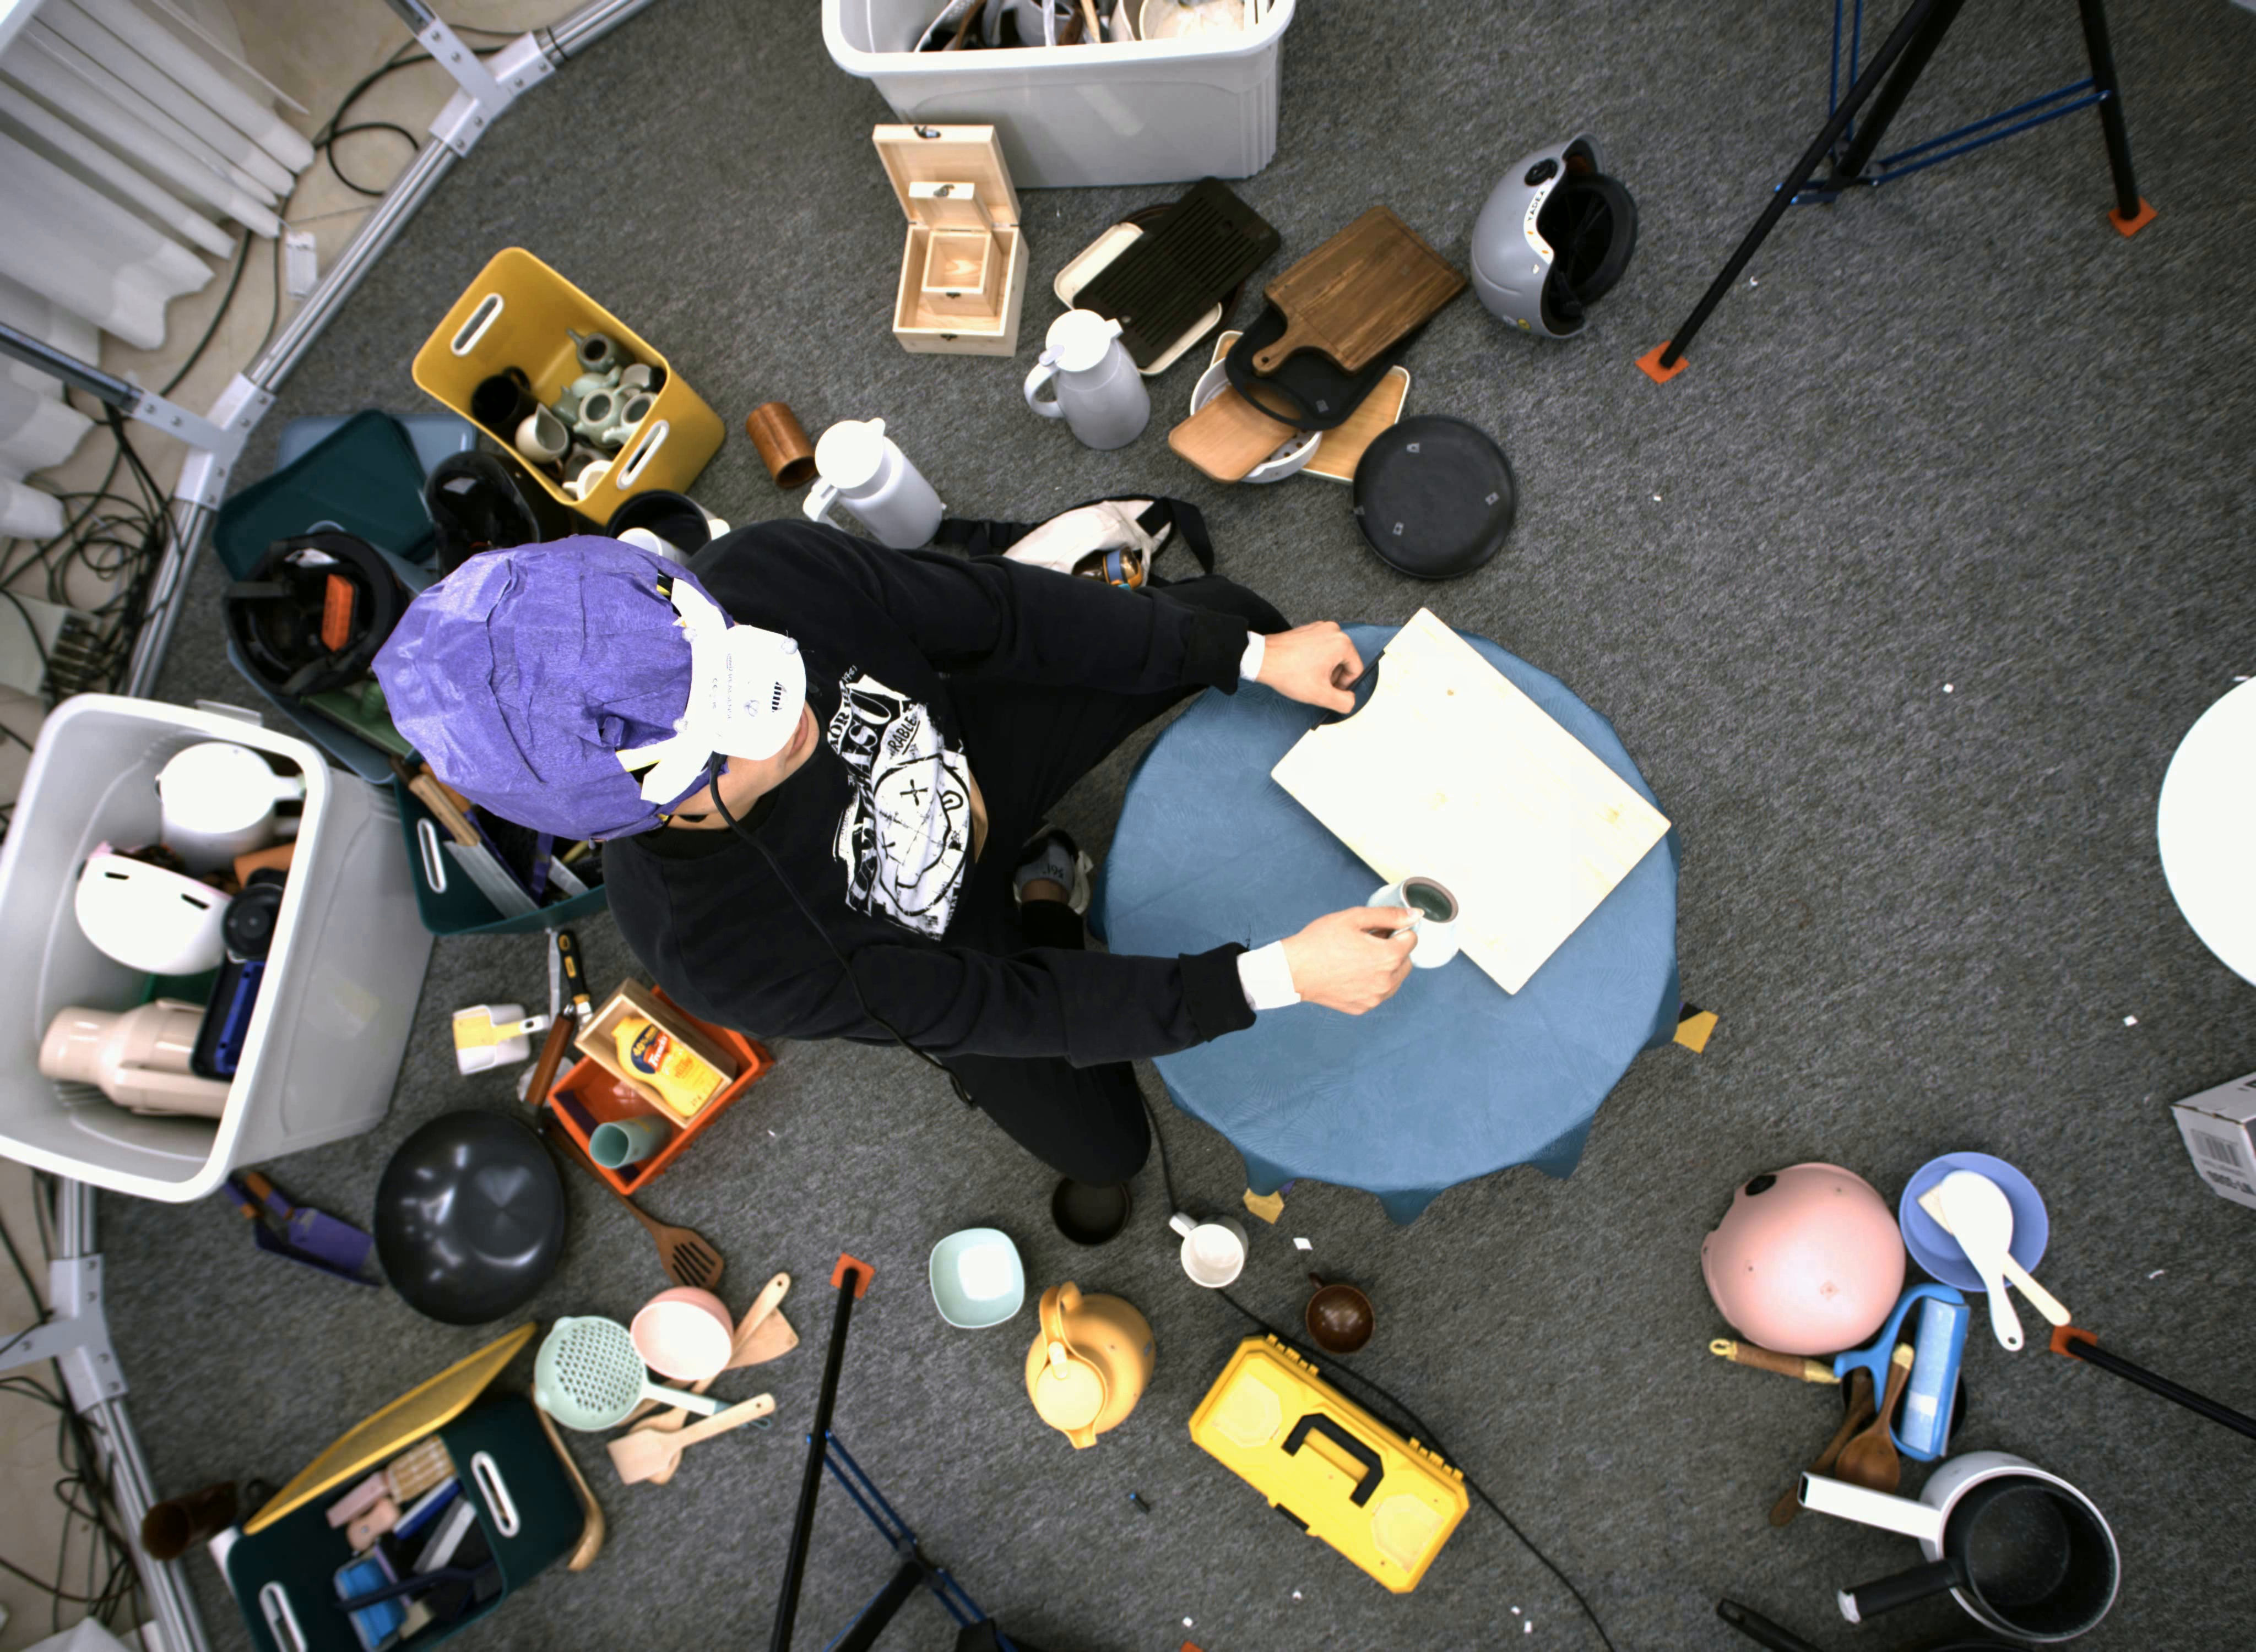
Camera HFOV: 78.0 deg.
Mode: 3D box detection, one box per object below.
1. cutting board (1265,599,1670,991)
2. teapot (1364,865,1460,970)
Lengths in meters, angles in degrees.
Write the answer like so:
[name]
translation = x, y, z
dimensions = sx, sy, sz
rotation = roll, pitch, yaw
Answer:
[cutting board]
translation = 0.349, -0.034, 1.431
dimensions = 0.348, 0.023, 0.252
rotation = 42, 95, 6
[teapot]
translation = 0.272, 0.089, 1.307
dimensions = 0.096, 0.134, 0.063
rotation = 37, 135, 13
